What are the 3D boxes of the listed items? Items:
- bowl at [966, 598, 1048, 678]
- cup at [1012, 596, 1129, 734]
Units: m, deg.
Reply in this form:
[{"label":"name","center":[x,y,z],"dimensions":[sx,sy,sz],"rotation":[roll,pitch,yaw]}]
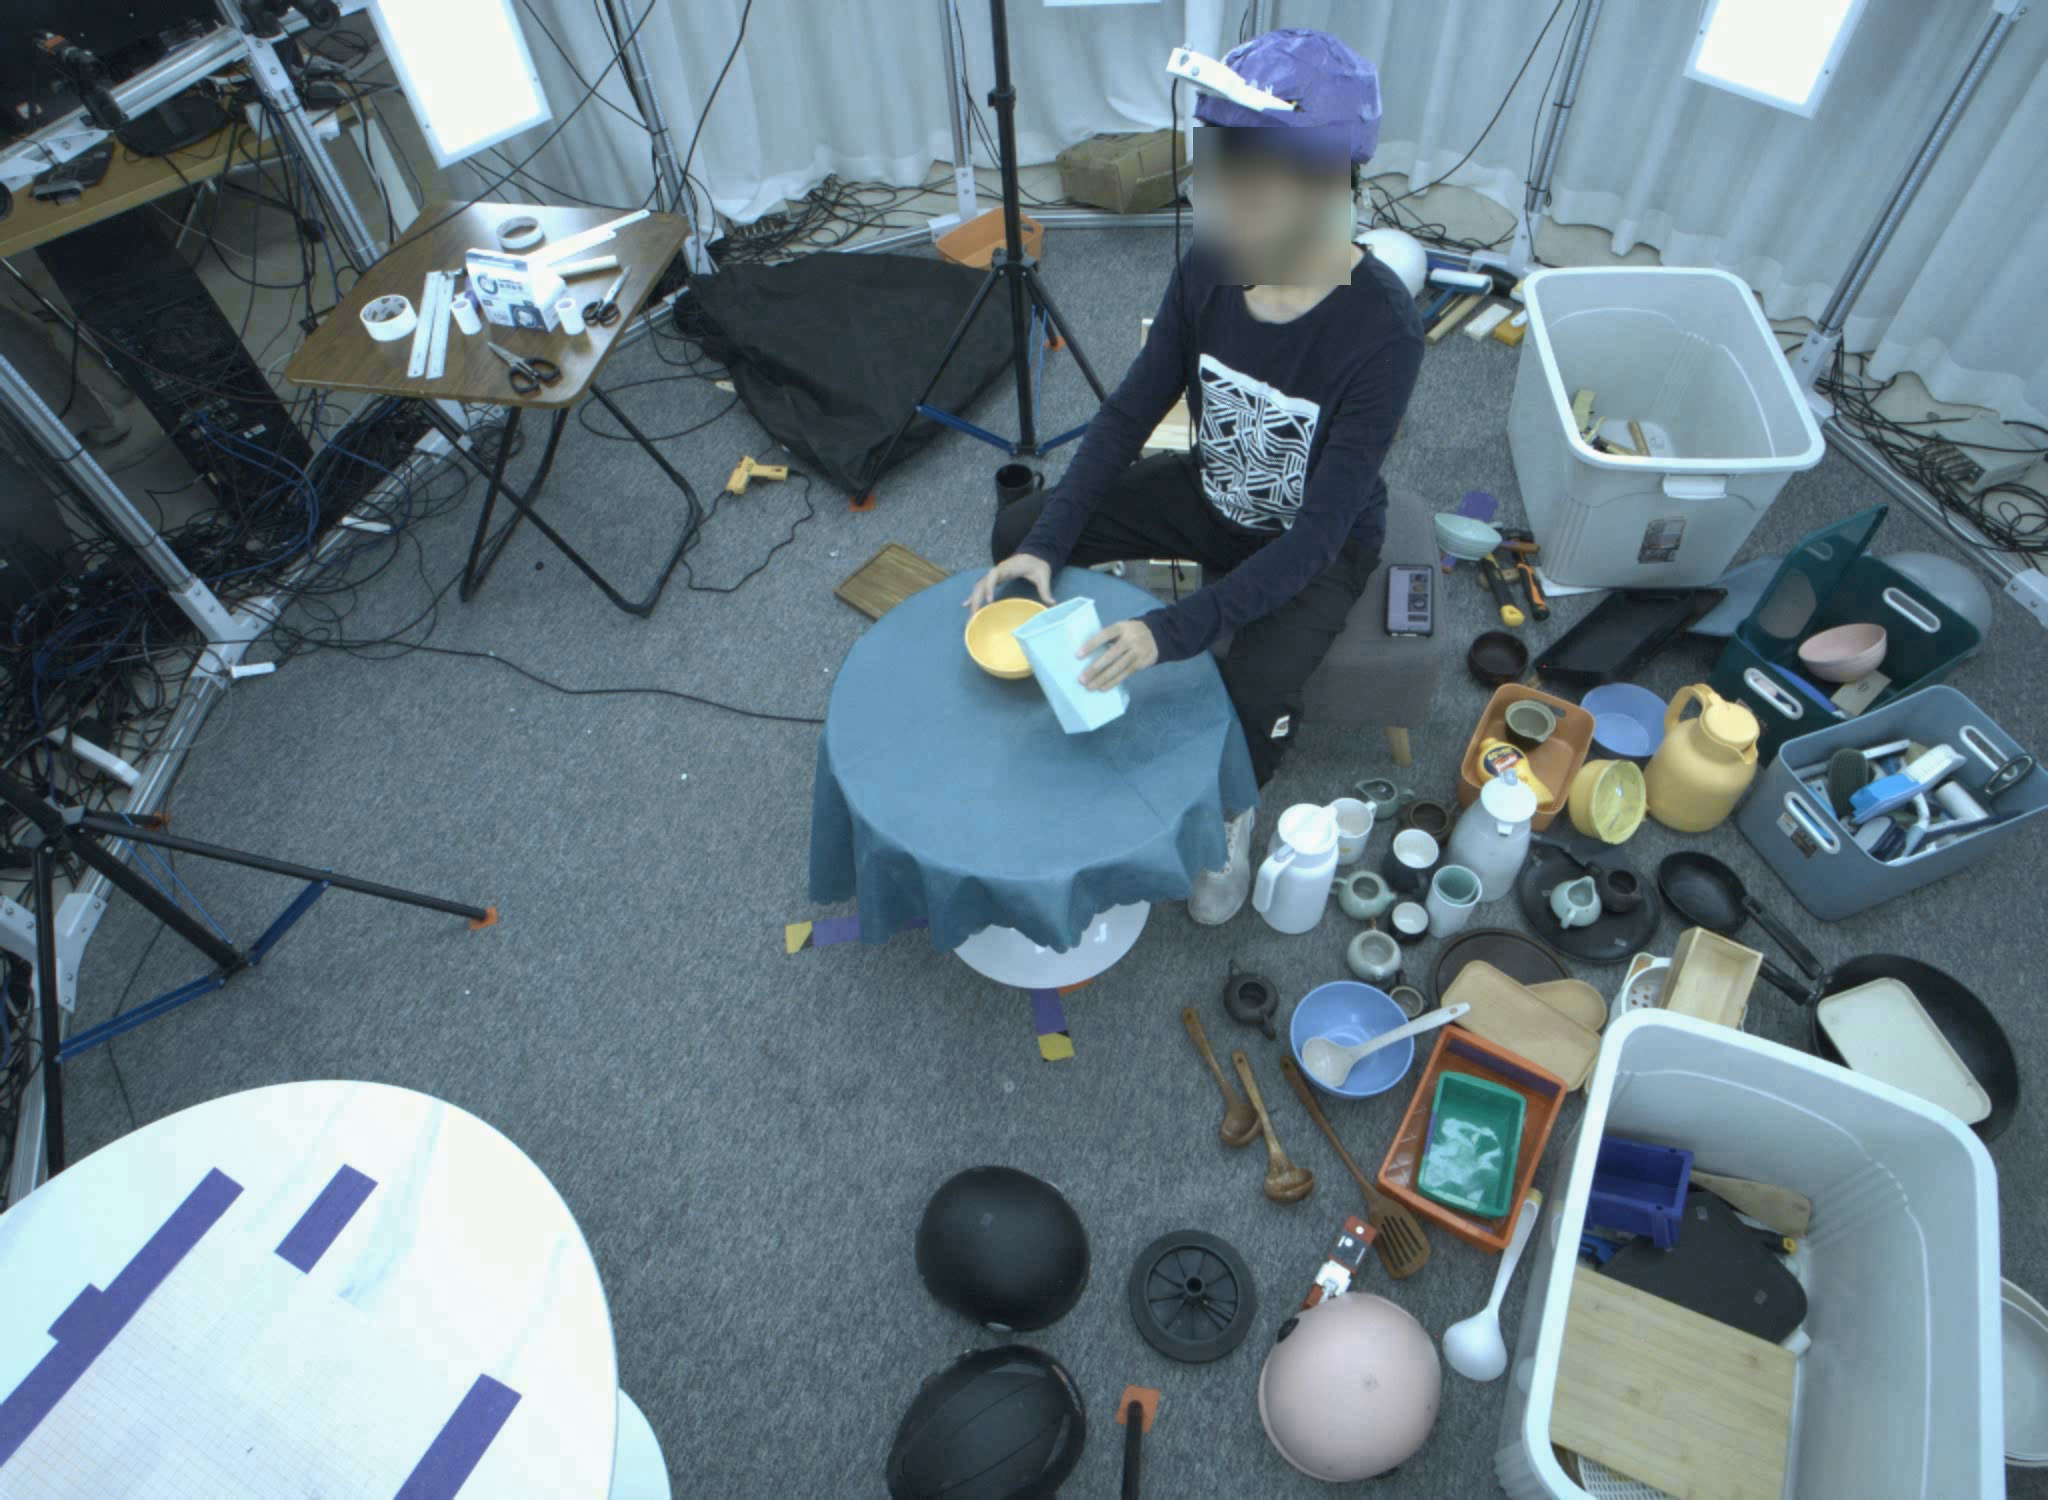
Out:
[{"label":"bowl","center":[-0.015,-0.157,1.858],"dimensions":[0.145,0.061,0.144],"rotation":[0,54,1]},{"label":"cup","center":[0.072,-0.116,1.724],"dimensions":[0.116,0.165,0.129],"rotation":[-28,19,-10]}]
